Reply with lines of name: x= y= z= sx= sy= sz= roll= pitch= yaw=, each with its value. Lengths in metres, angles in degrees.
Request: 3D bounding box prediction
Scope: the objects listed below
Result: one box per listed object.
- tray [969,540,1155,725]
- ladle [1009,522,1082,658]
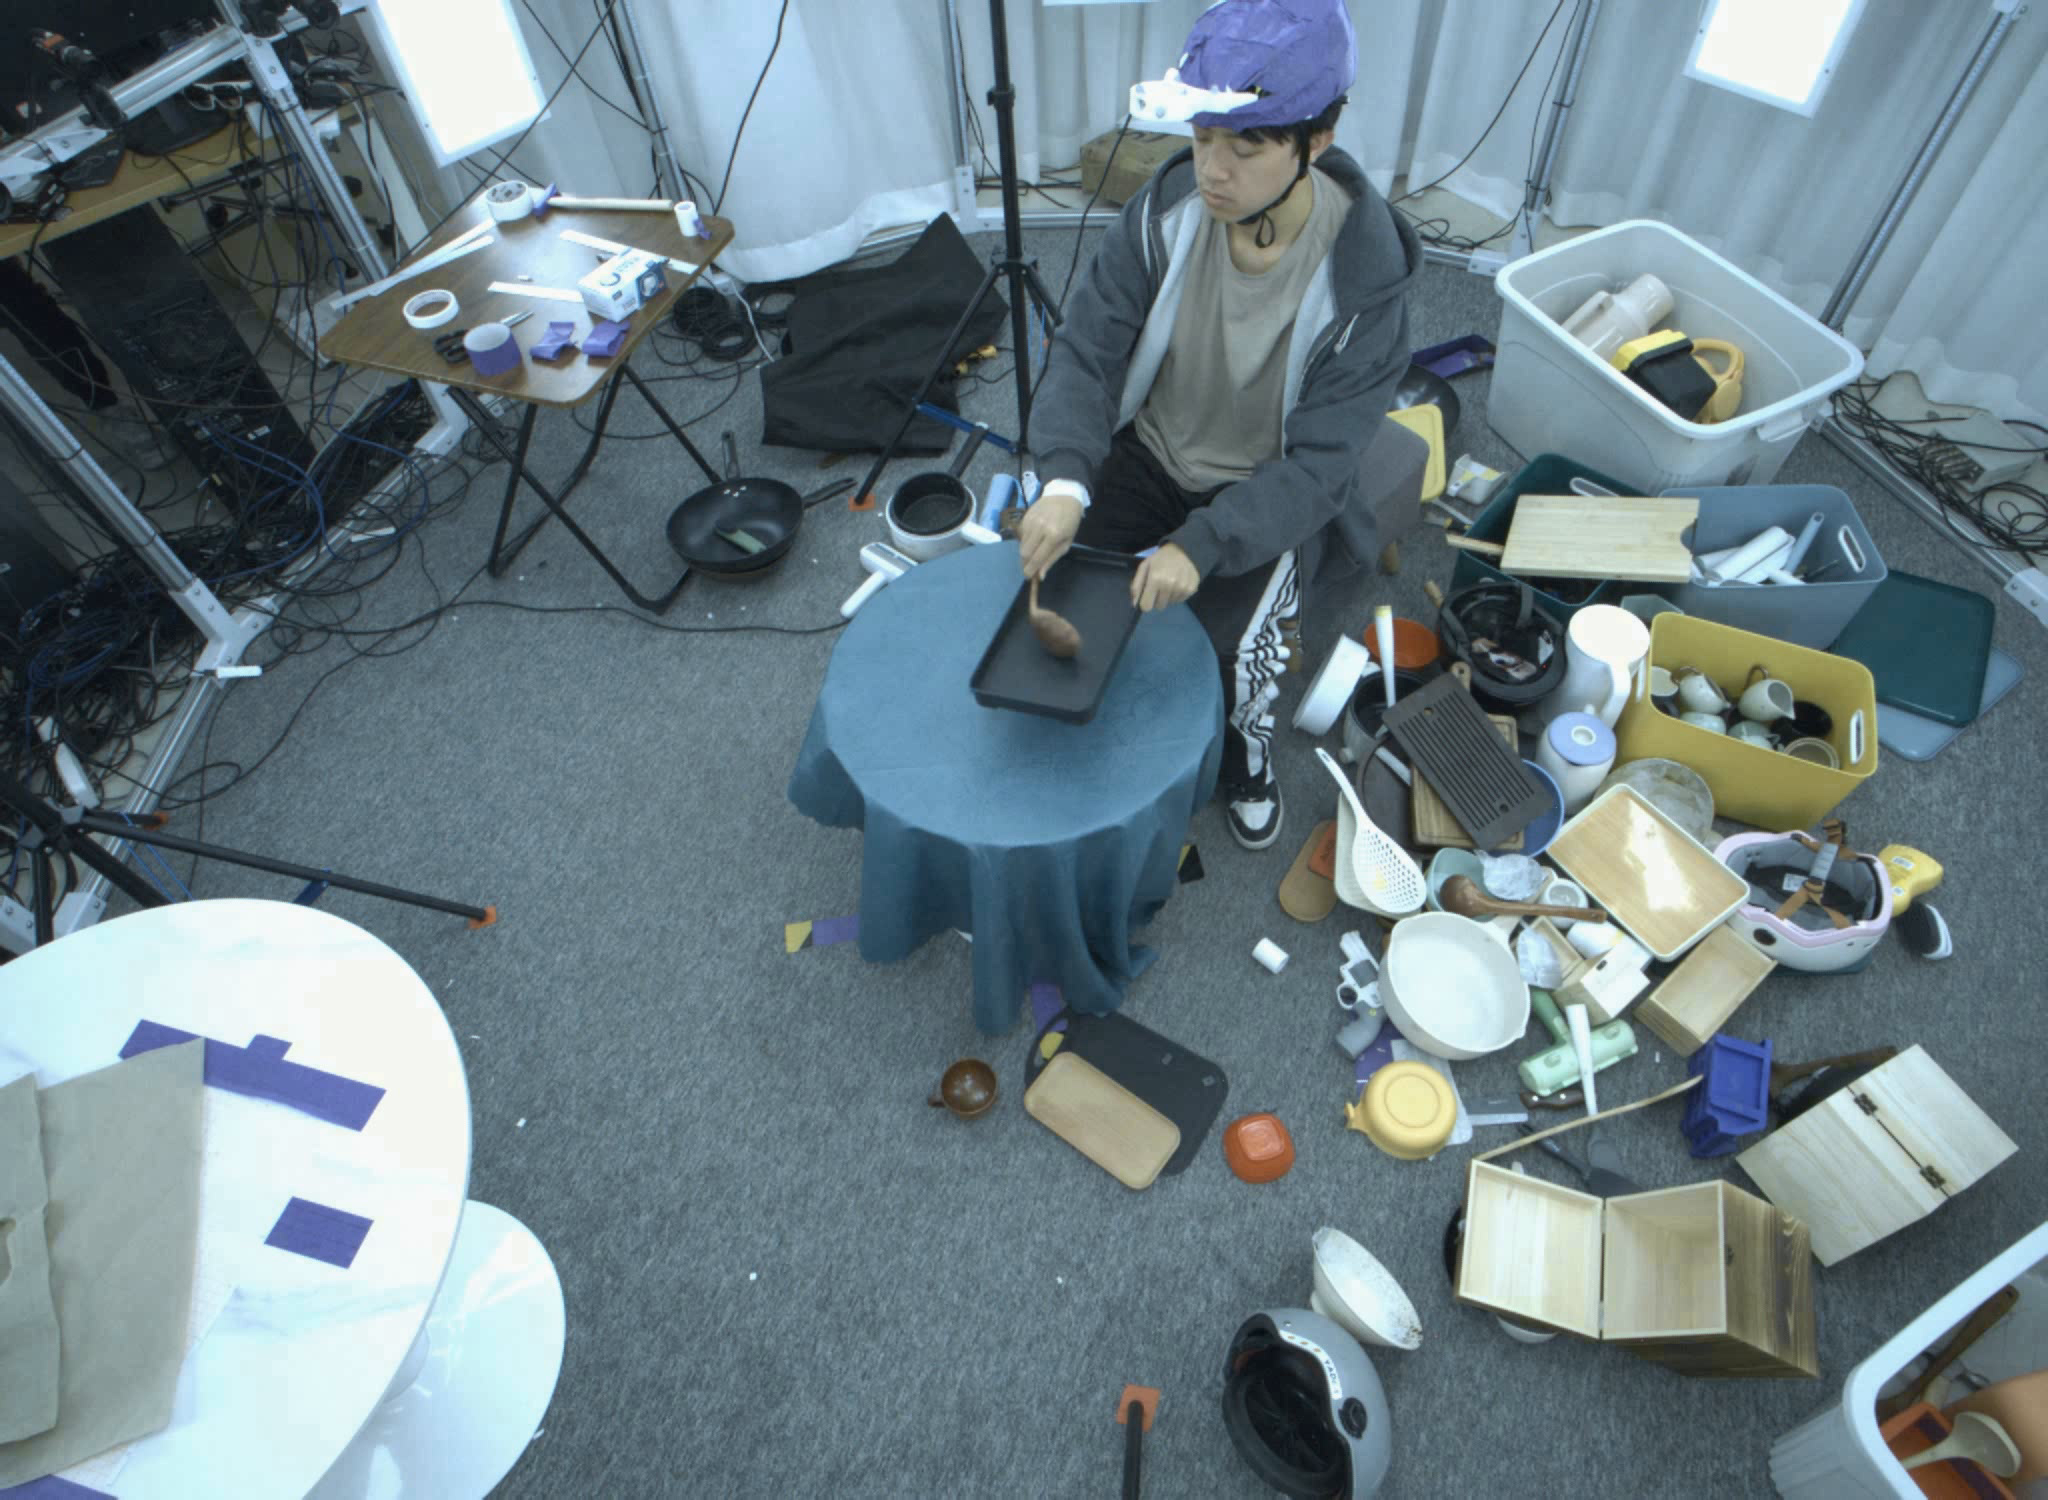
tray: x=0.060 y=-0.176 z=1.767 sx=0.182 sy=0.037 sz=0.317 roll=13 pitch=55 yaw=18
ladle: x=0.029 y=-0.240 z=1.782 sx=0.065 sy=0.077 sz=0.256 roll=-10 pitch=56 yaw=-3
